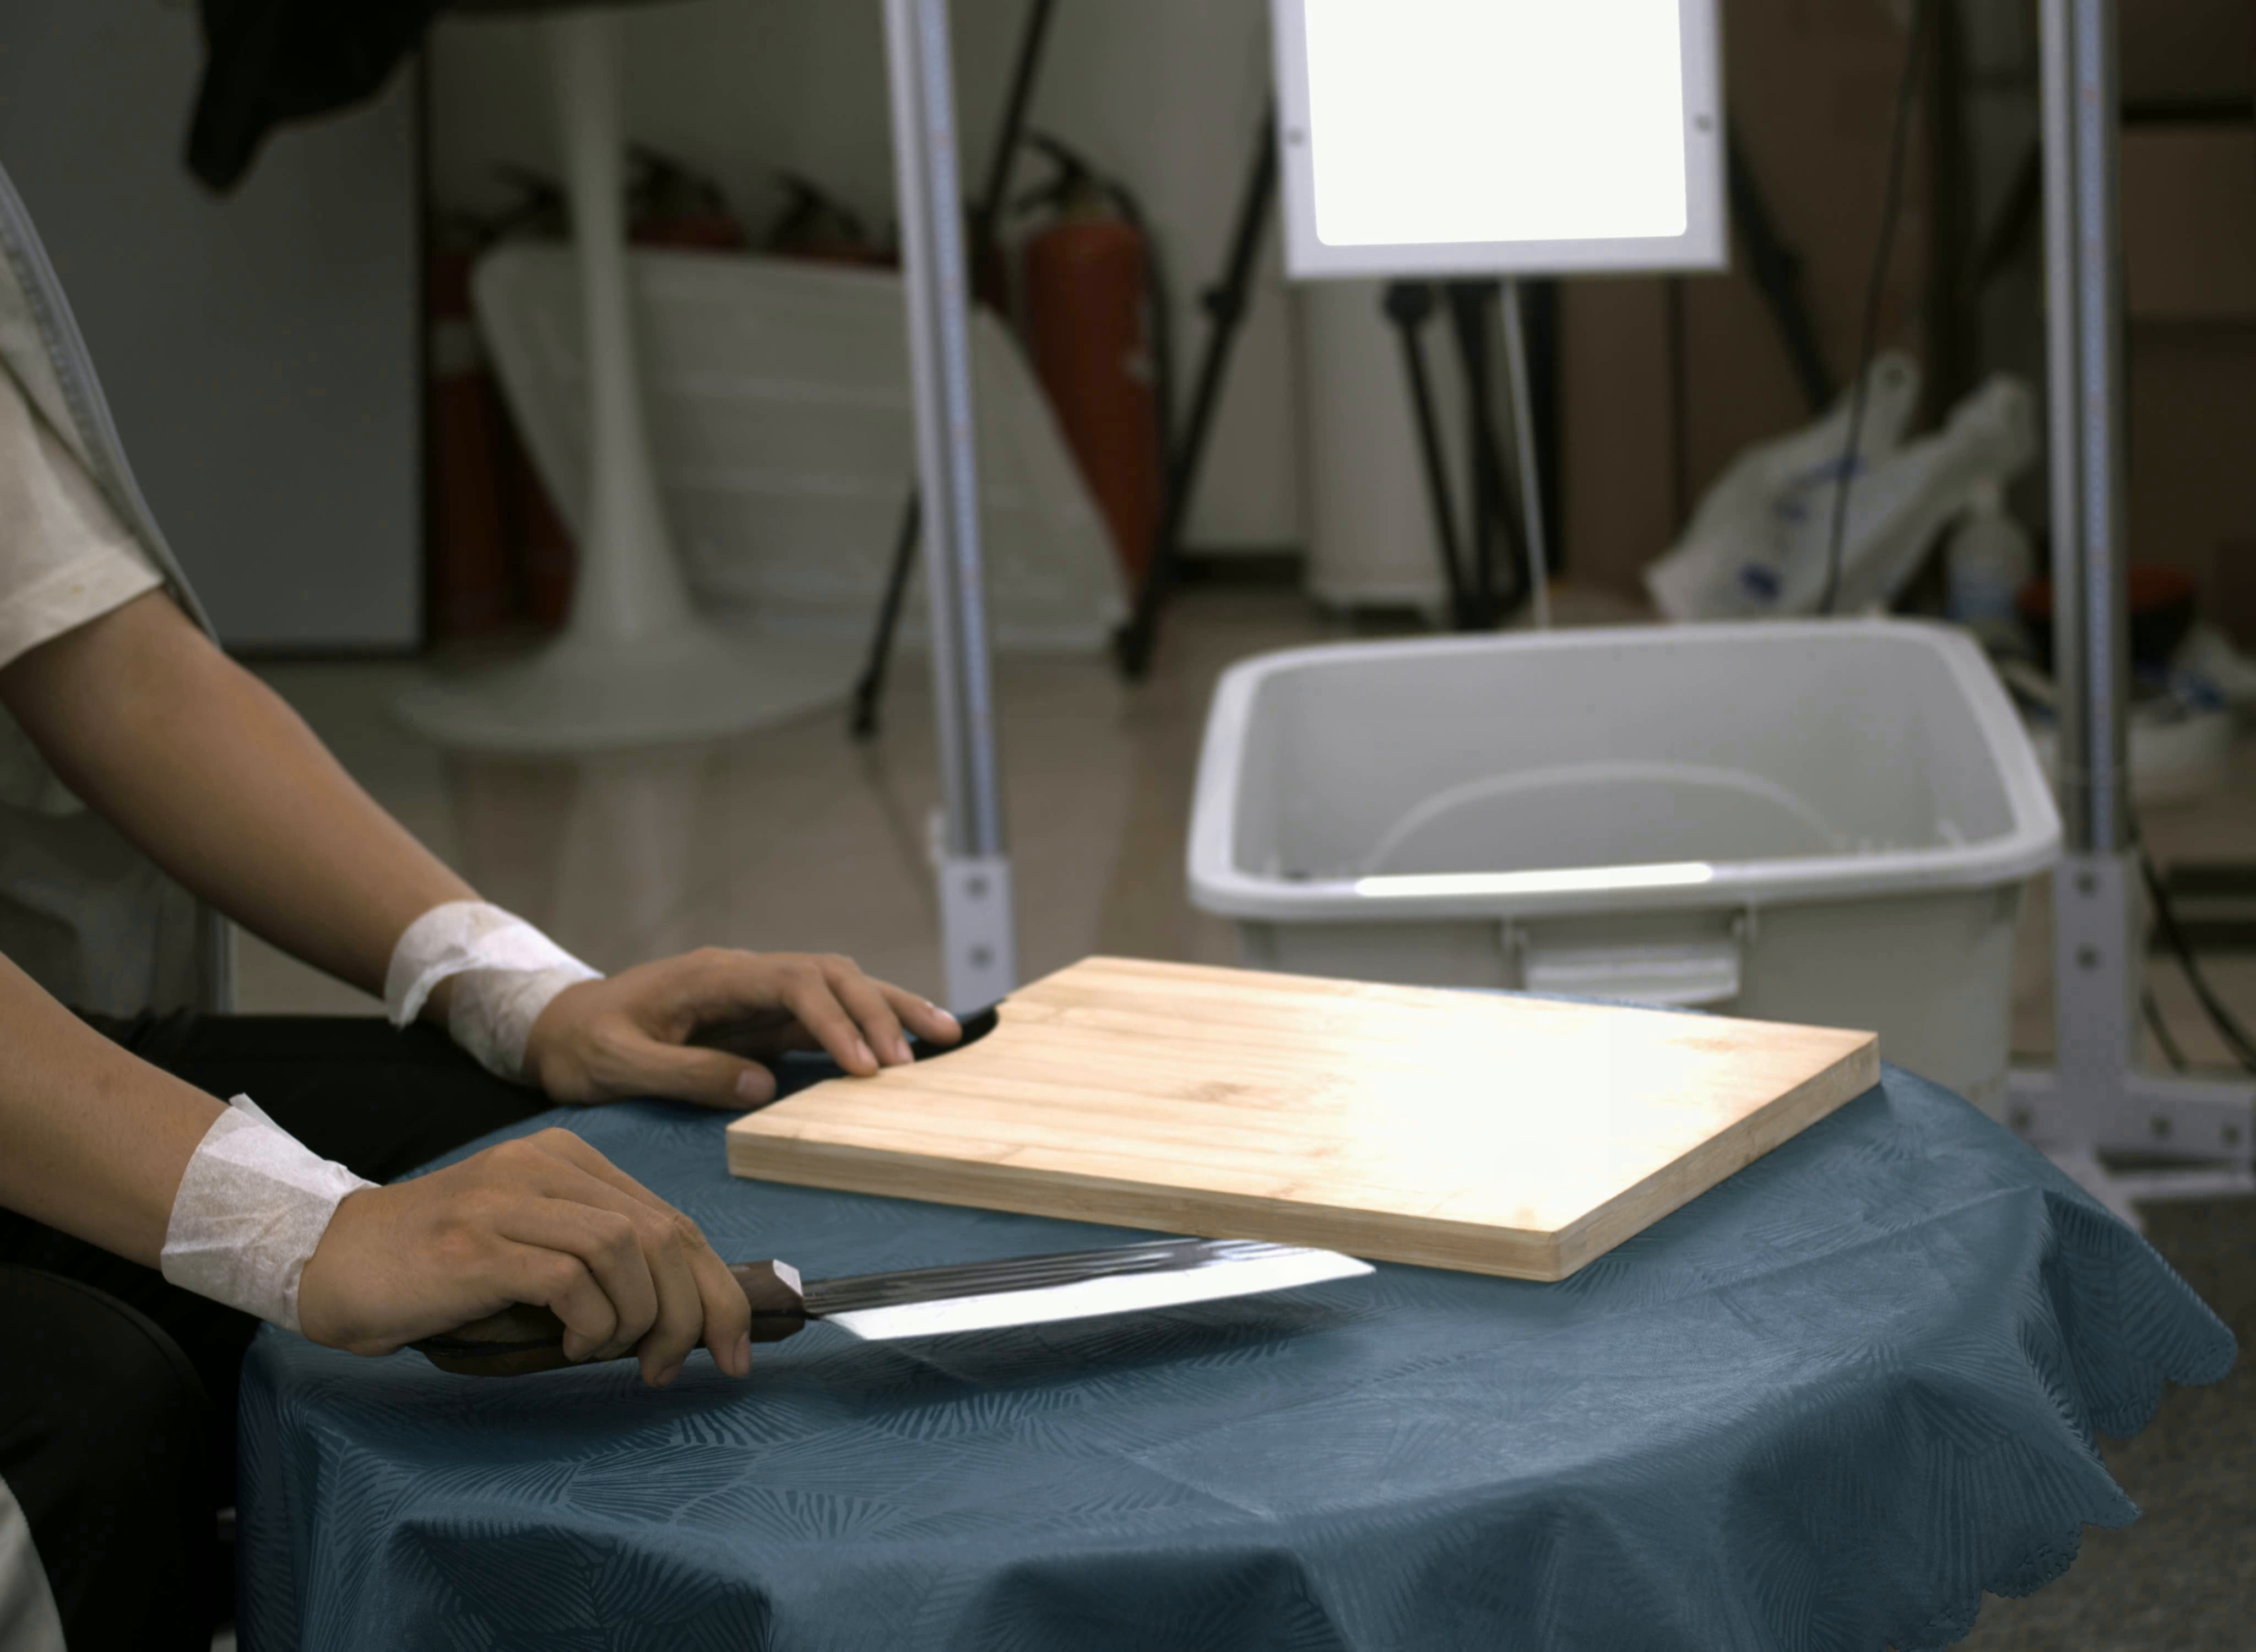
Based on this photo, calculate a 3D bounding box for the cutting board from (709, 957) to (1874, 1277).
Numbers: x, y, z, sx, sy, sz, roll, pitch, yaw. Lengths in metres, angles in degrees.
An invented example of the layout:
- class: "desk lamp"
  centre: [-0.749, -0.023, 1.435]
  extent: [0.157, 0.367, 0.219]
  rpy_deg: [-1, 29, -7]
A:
- class: "cutting board"
  centre: [0.058, 0.099, 1.955]
  extent: [0.356, 0.023, 0.245]
  rpy_deg: [4, 16, 34]

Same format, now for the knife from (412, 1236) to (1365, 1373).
- class: "knife"
  centre: [-0.074, 0.148, 1.733]
  extent: [0.296, 0.024, 0.068]
  rpy_deg: [-5, 11, -12]
